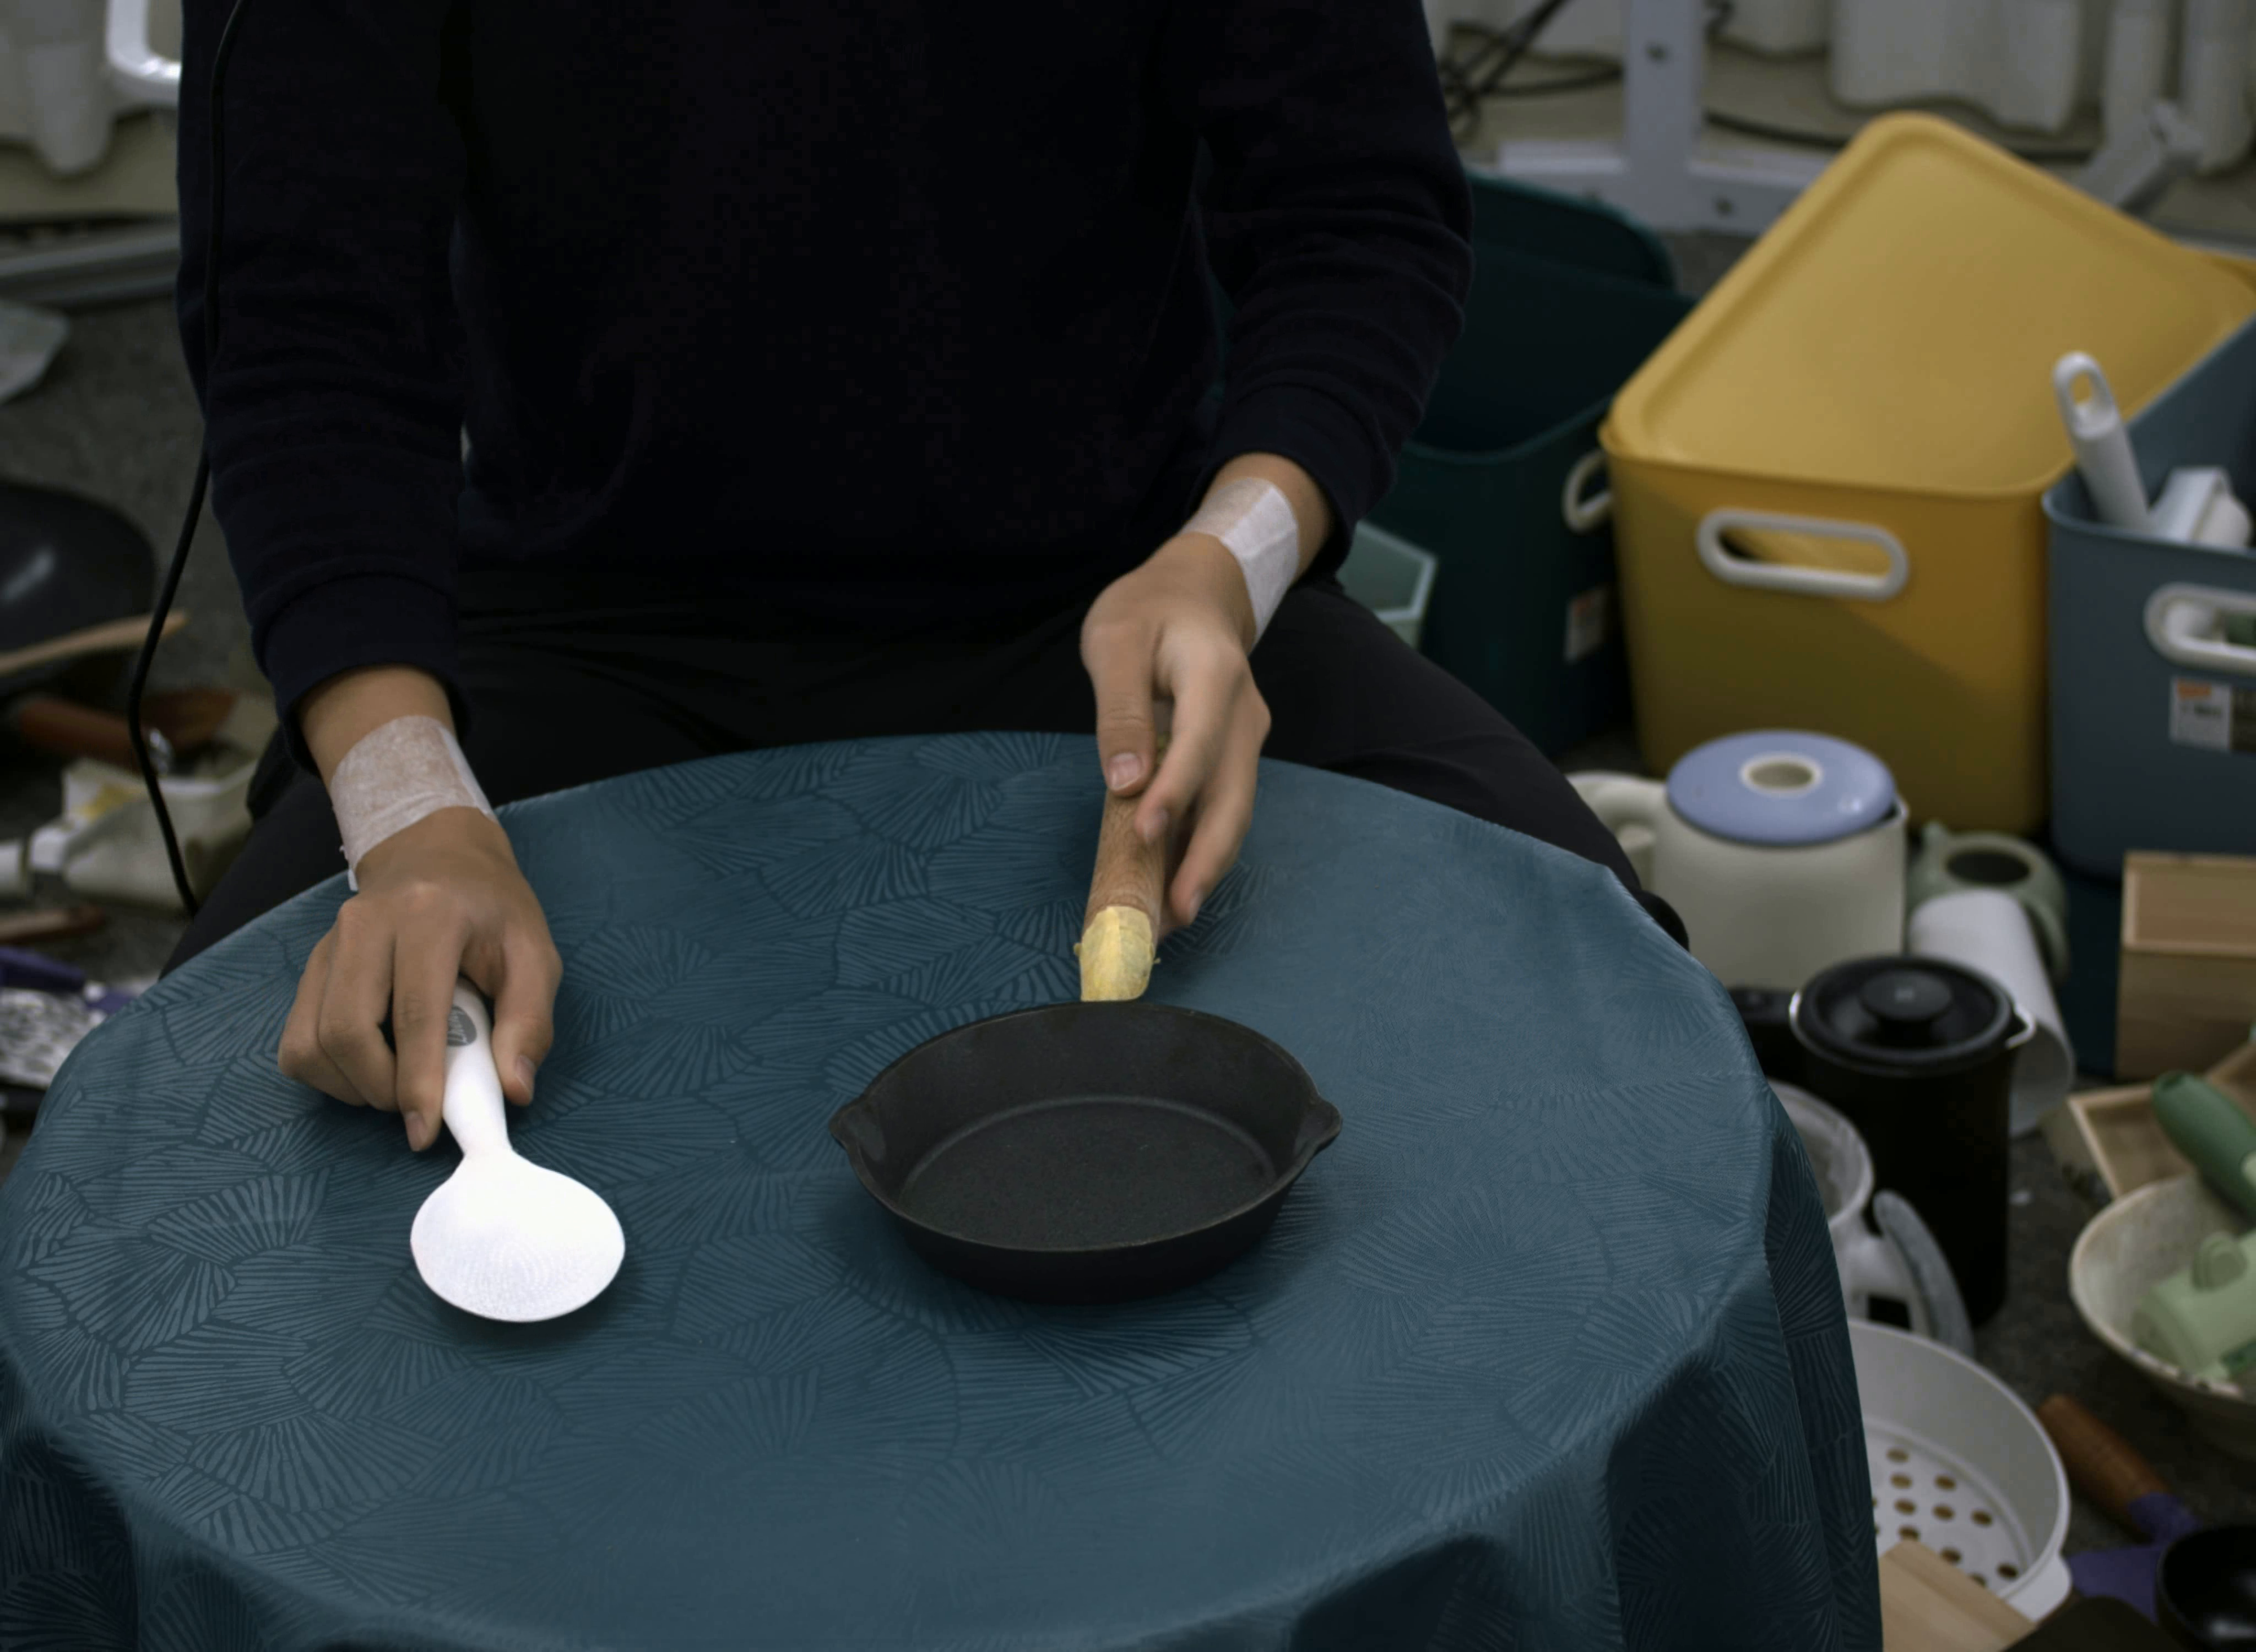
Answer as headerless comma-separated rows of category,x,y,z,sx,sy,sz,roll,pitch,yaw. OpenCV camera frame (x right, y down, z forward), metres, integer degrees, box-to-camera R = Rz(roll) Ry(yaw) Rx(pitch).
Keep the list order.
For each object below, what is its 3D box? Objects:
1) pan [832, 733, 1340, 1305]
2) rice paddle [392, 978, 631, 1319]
pan,-0.004,0.063,1.921,0.168,0.049,0.330,1,29,7
rice paddle,-0.213,0.110,1.875,0.069,0.029,0.207,-9,28,-14
